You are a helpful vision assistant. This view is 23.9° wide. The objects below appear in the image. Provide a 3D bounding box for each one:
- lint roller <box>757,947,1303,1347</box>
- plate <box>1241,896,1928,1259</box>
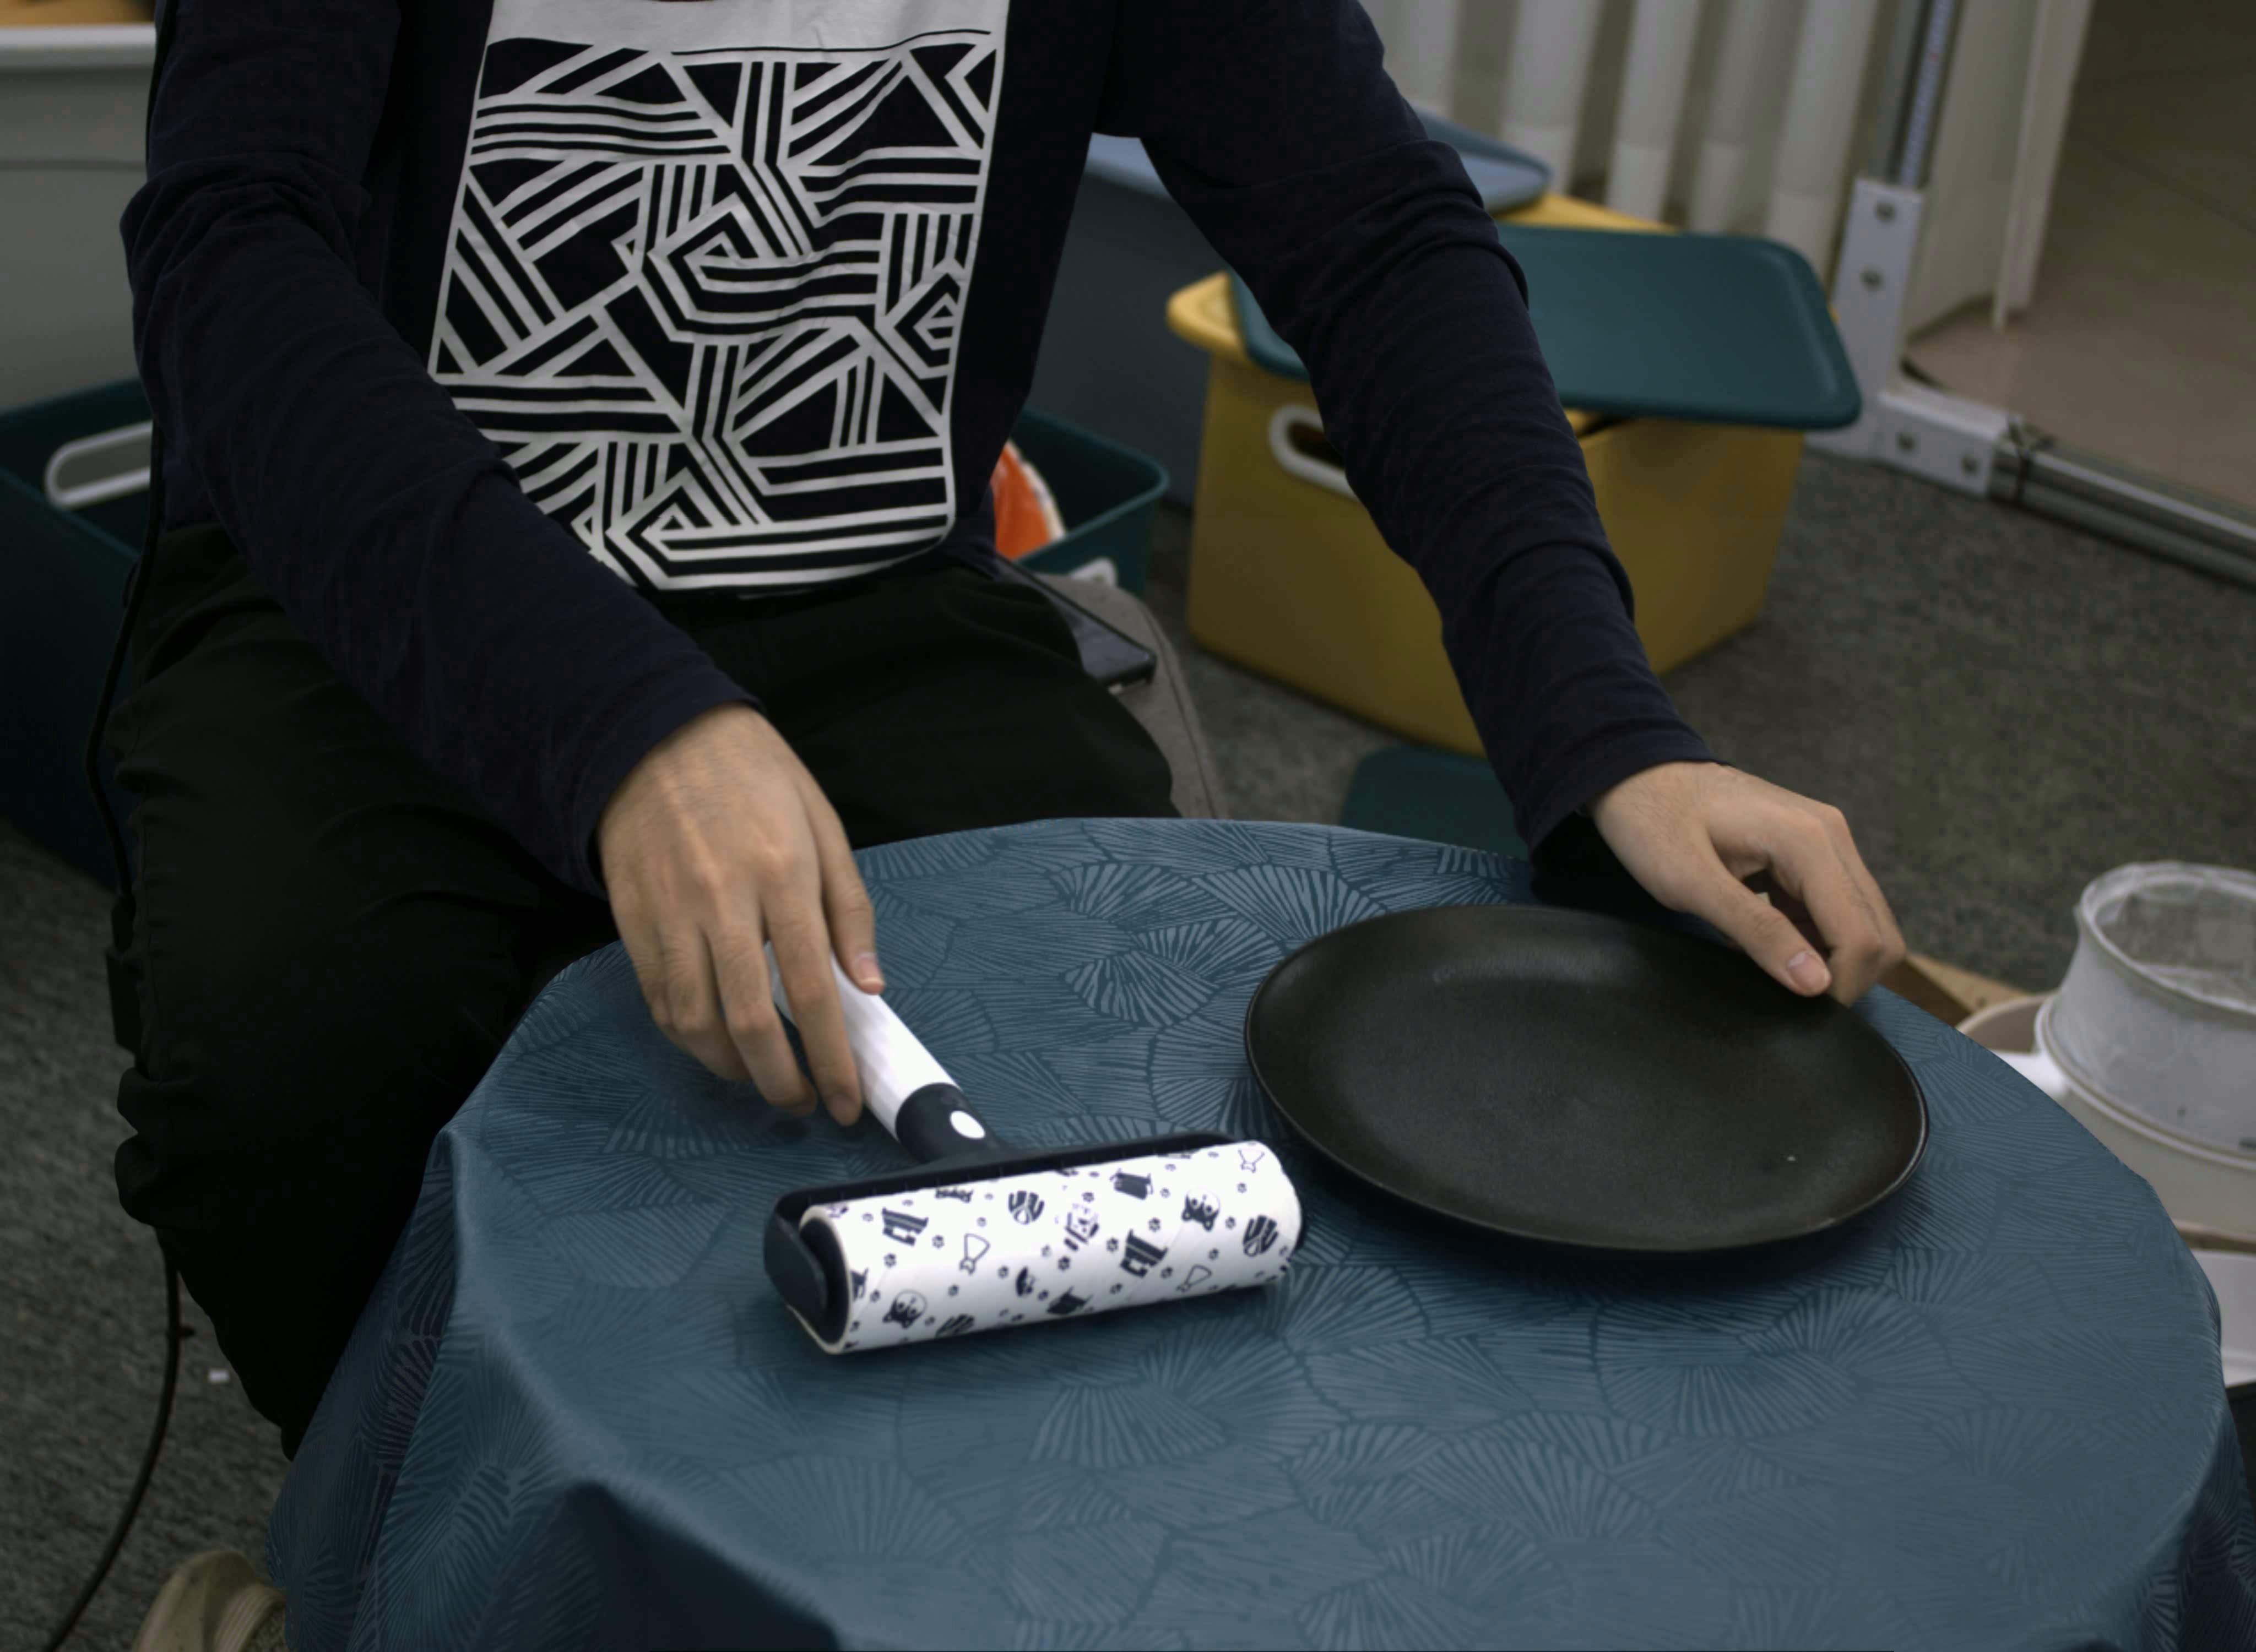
[{"bbox_3d":[-0.072,0.093,1.804,0.175,0.050,0.249,-8,28,-25],"label":"lint roller"},{"bbox_3d":[0.159,0.092,1.876,0.243,0.023,0.246,4,28,-3],"label":"plate"}]
